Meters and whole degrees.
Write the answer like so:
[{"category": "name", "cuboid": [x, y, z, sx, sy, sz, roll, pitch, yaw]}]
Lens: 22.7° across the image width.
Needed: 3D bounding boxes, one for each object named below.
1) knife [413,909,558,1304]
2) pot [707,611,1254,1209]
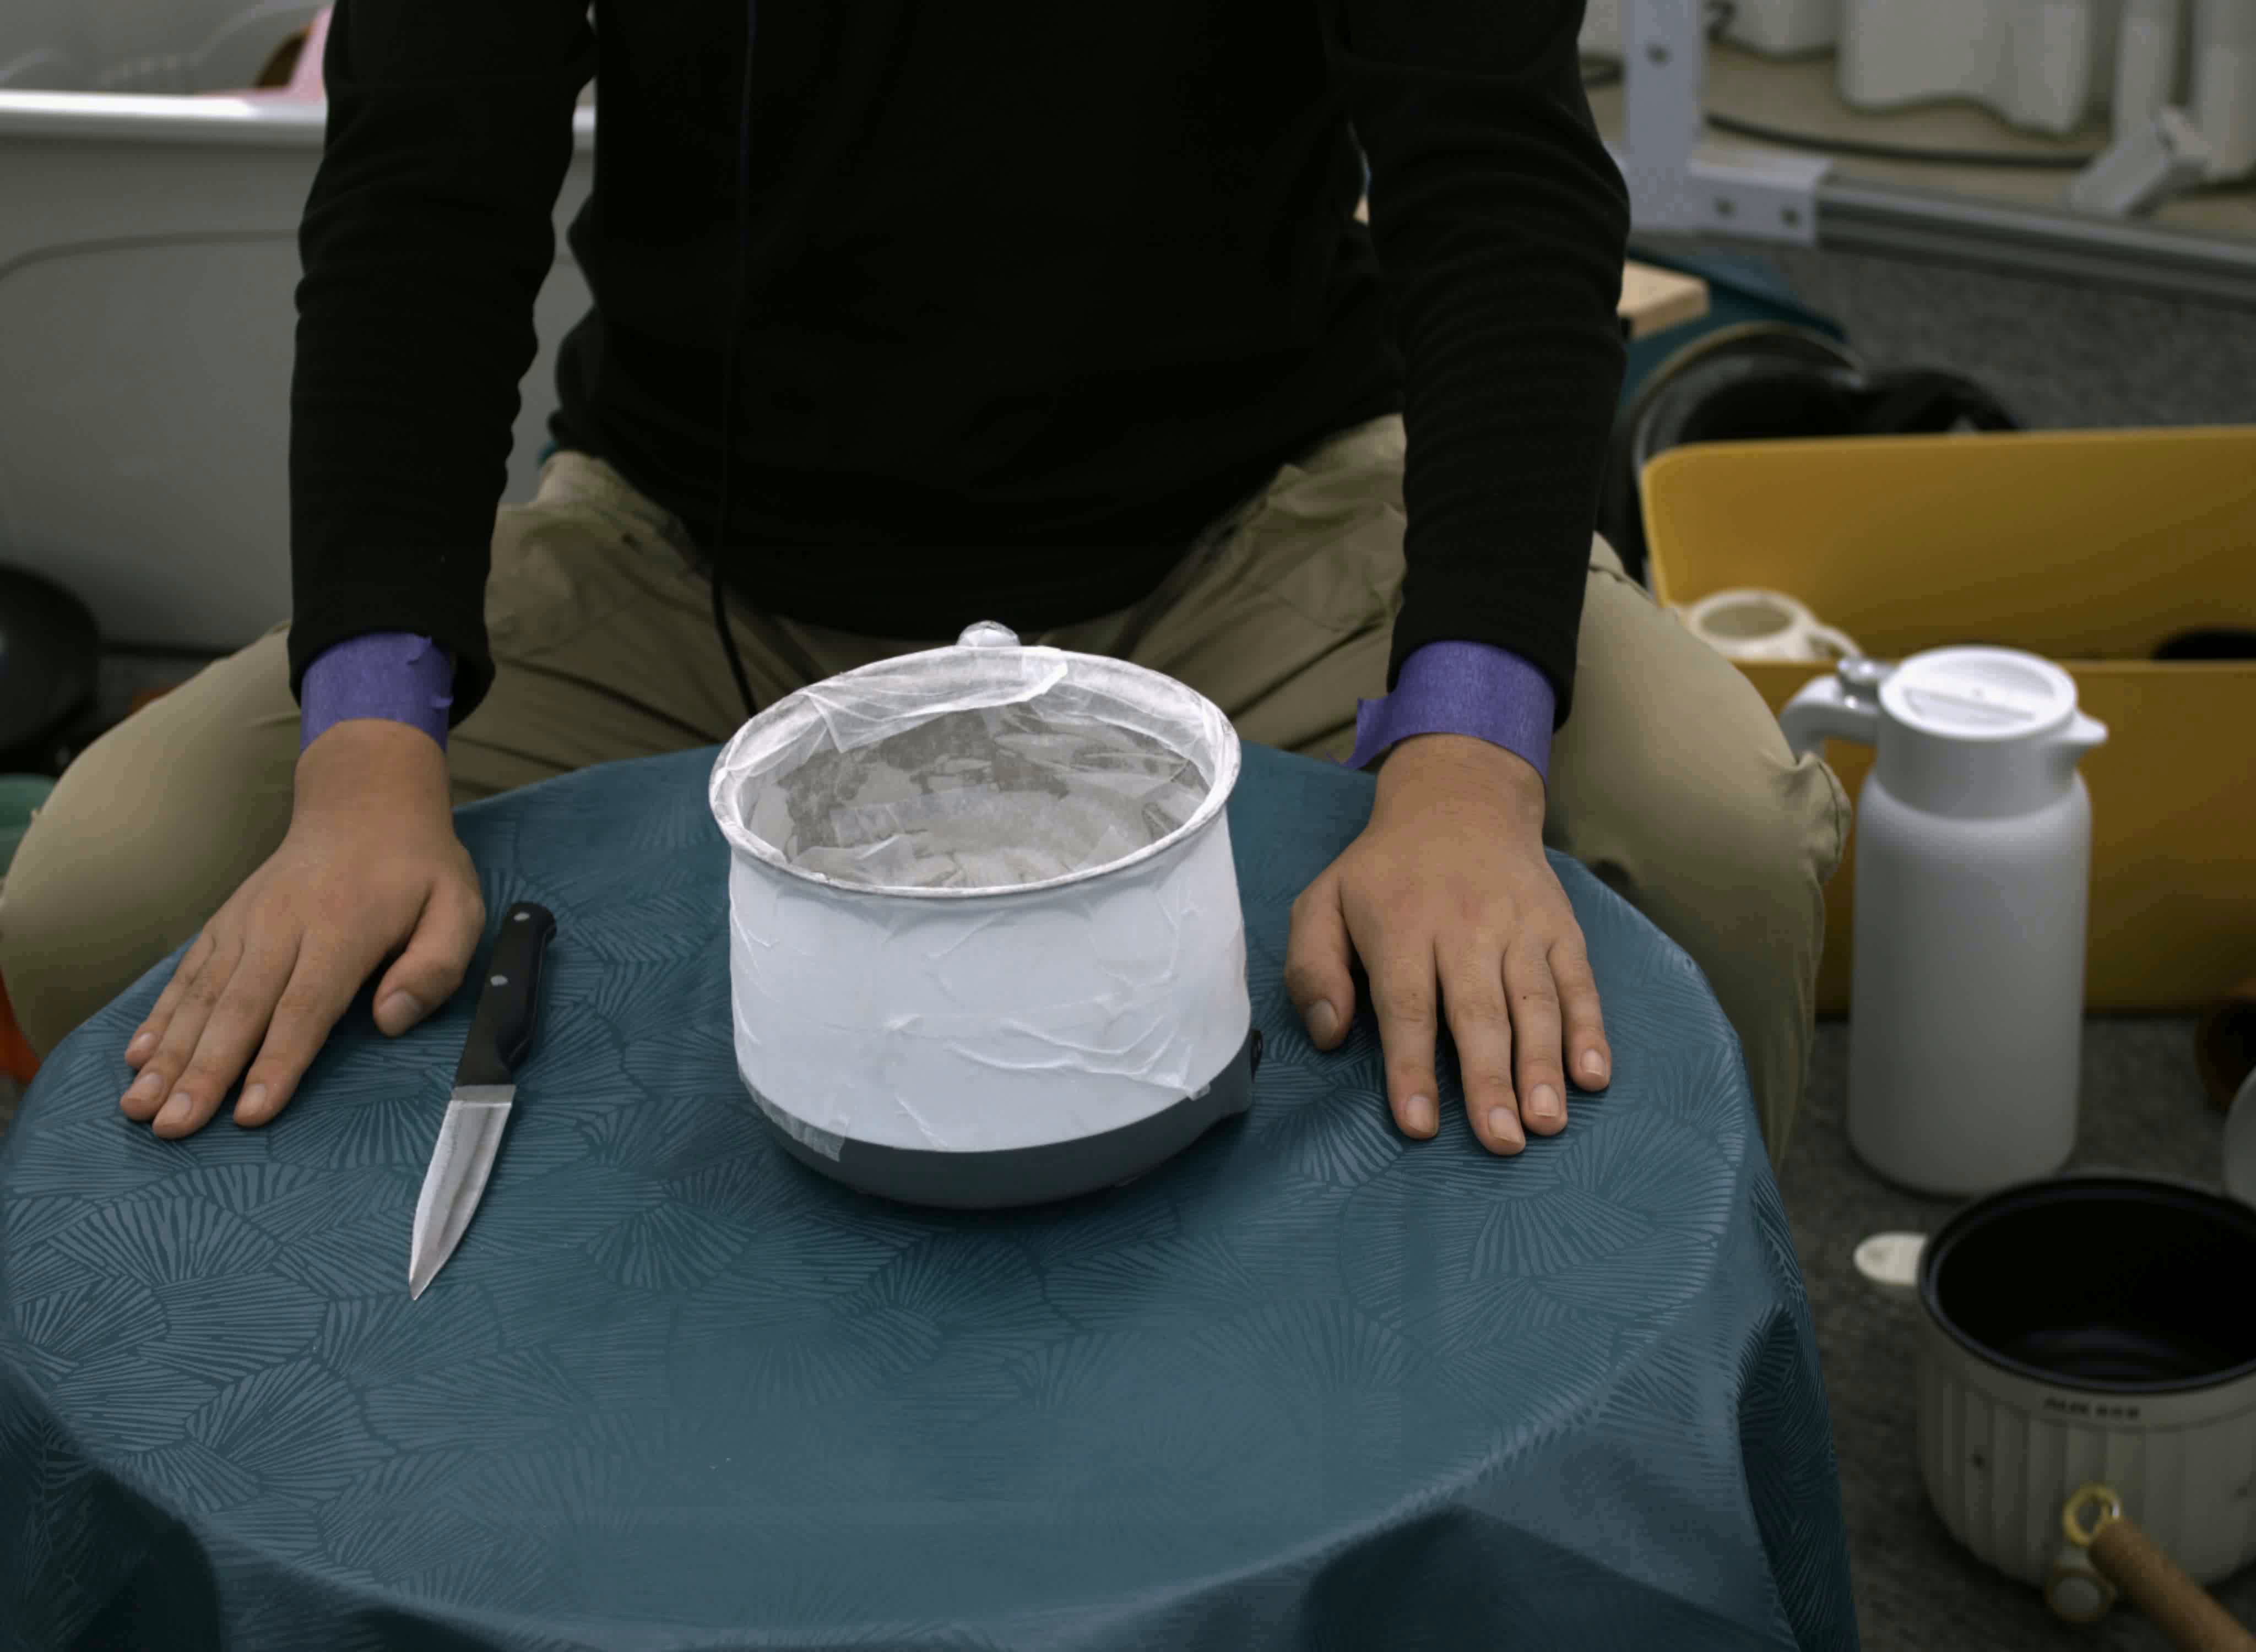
[{"category": "knife", "cuboid": [-0.223, 0.095, 1.921, 0.024, 0.016, 0.242, 0, 30, 4]}, {"category": "pot", "cuboid": [-0.048, 0.021, 1.906, 0.178, 0.135, 0.237, -2, 28, 0]}]
